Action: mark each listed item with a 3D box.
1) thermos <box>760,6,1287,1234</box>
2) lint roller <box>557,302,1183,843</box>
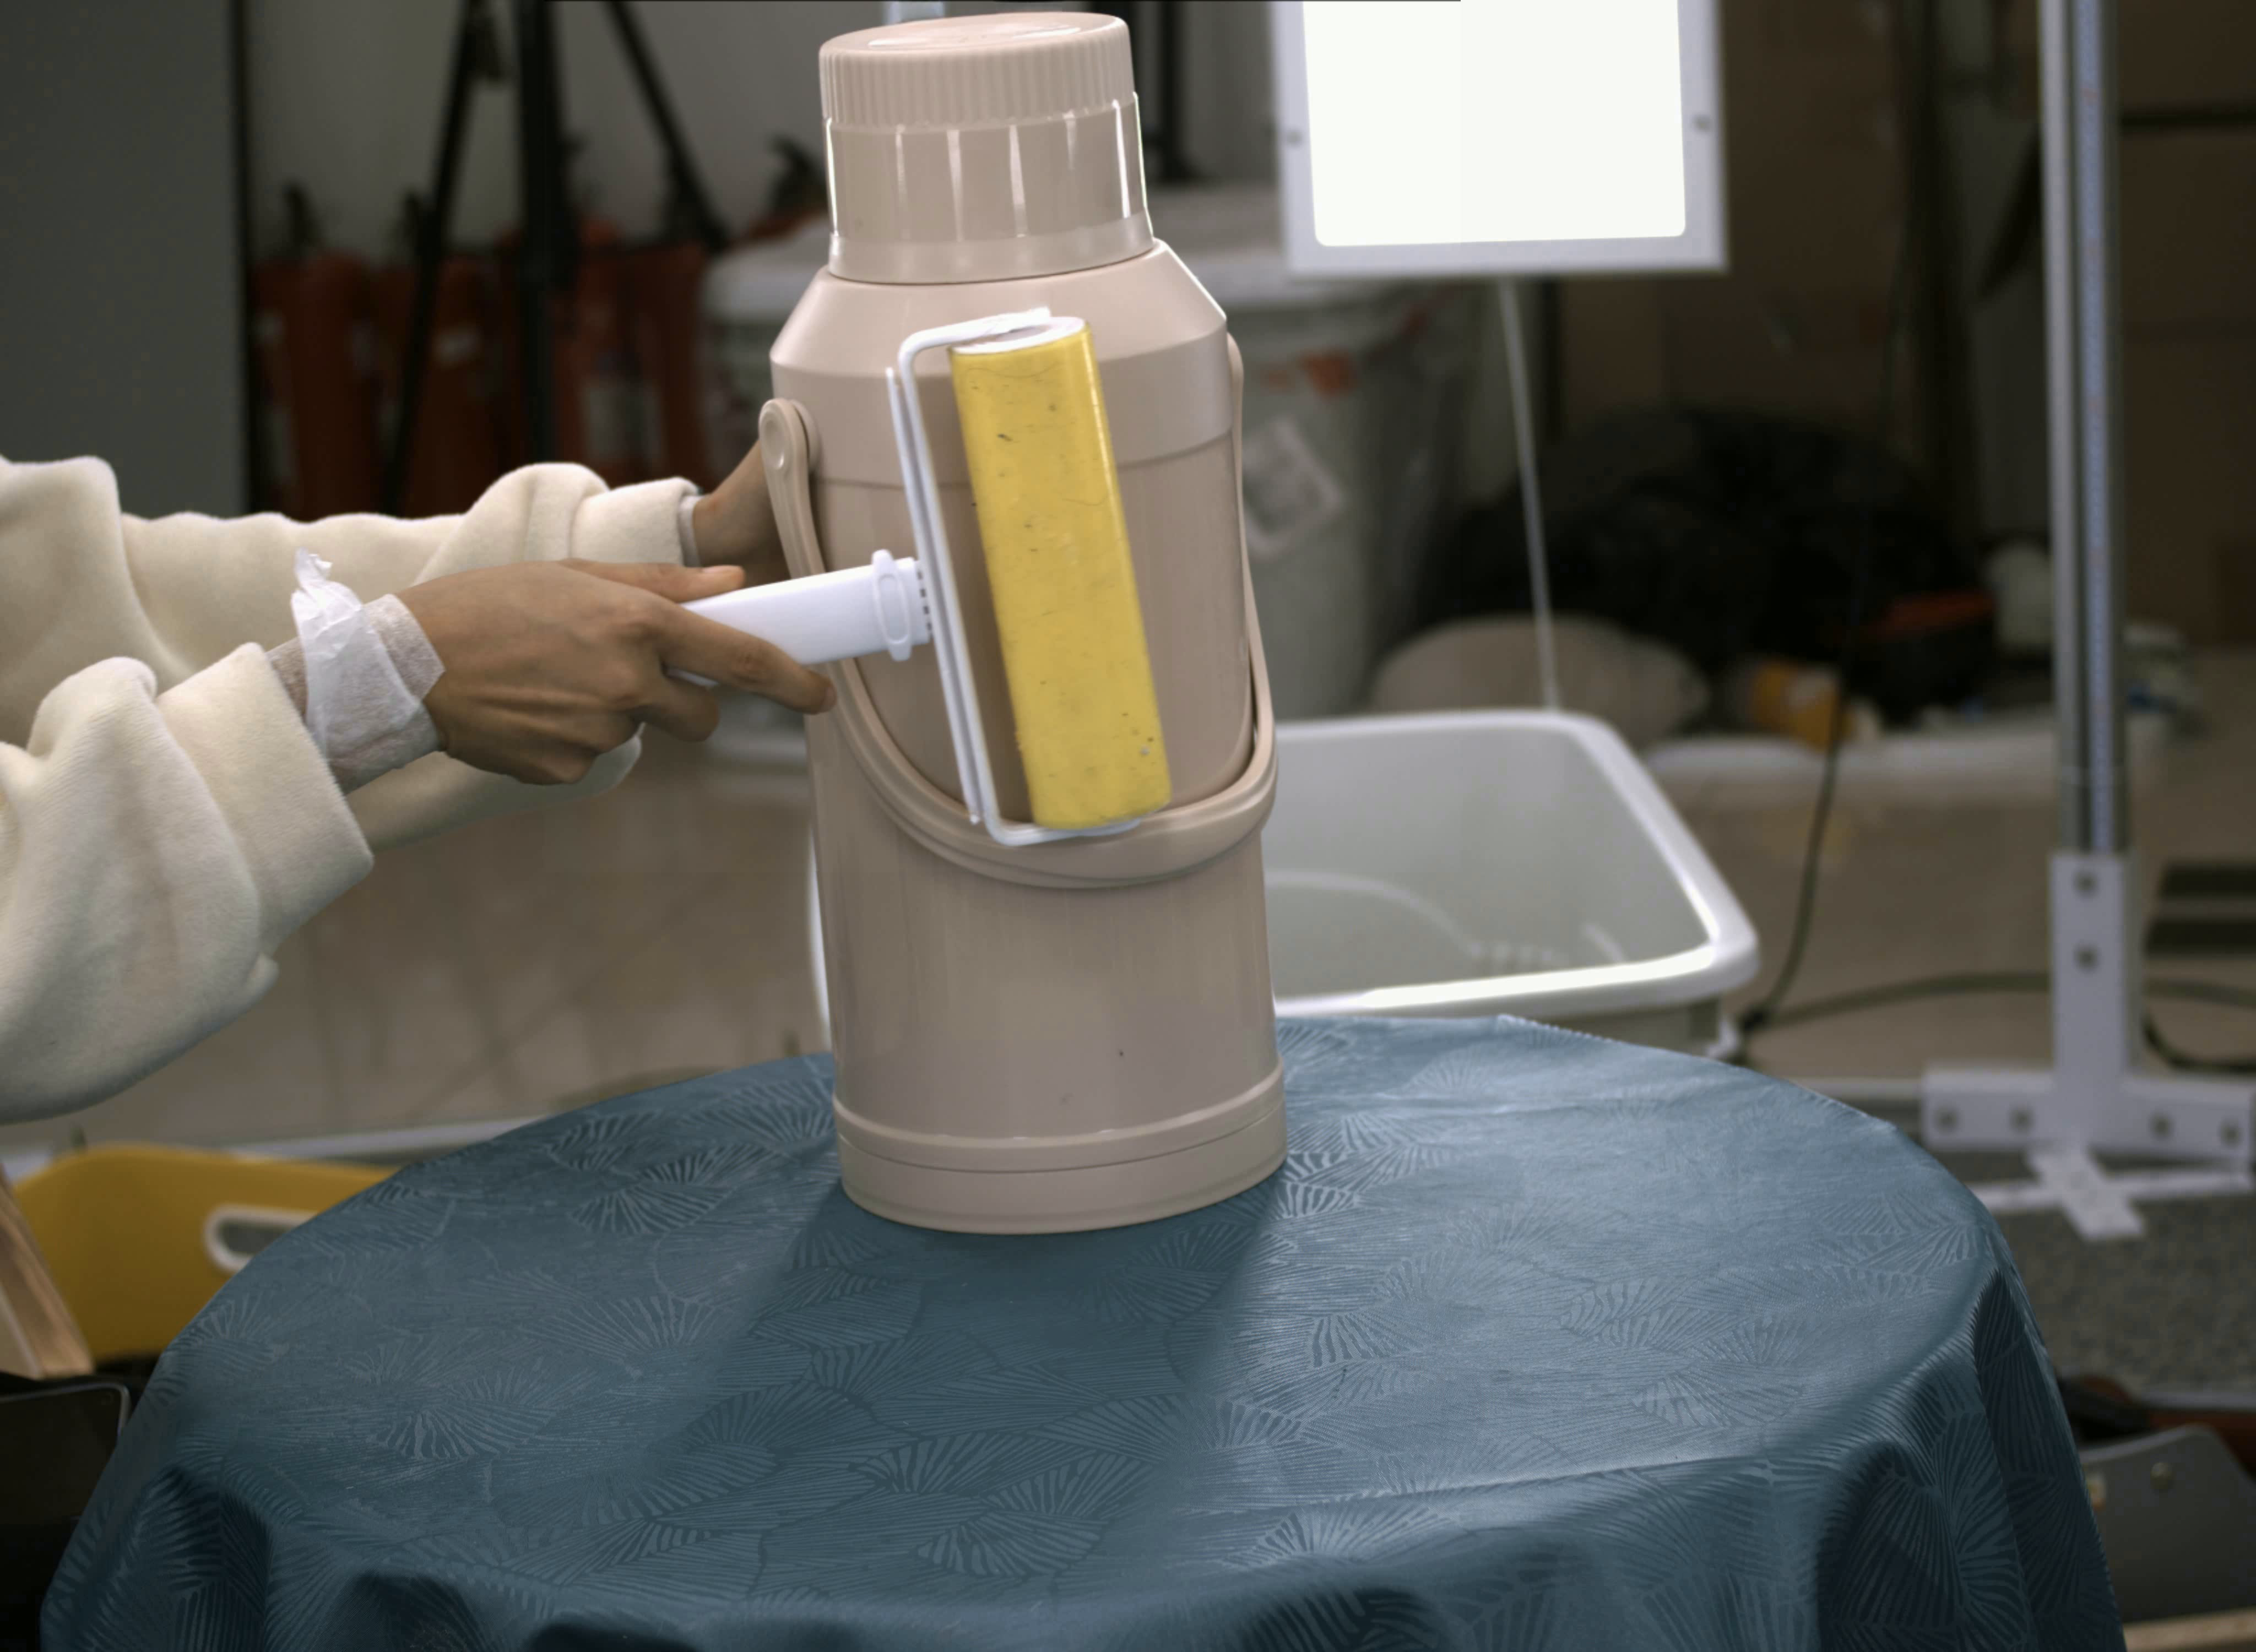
[{"bbox_3d":[-0.042,-0.075,1.901,0.171,0.408,0.211,-12,15,-27],"label":"thermos"},{"bbox_3d":[-0.088,-0.065,1.775,0.190,0.174,0.052,-15,15,-11],"label":"lint roller"}]
